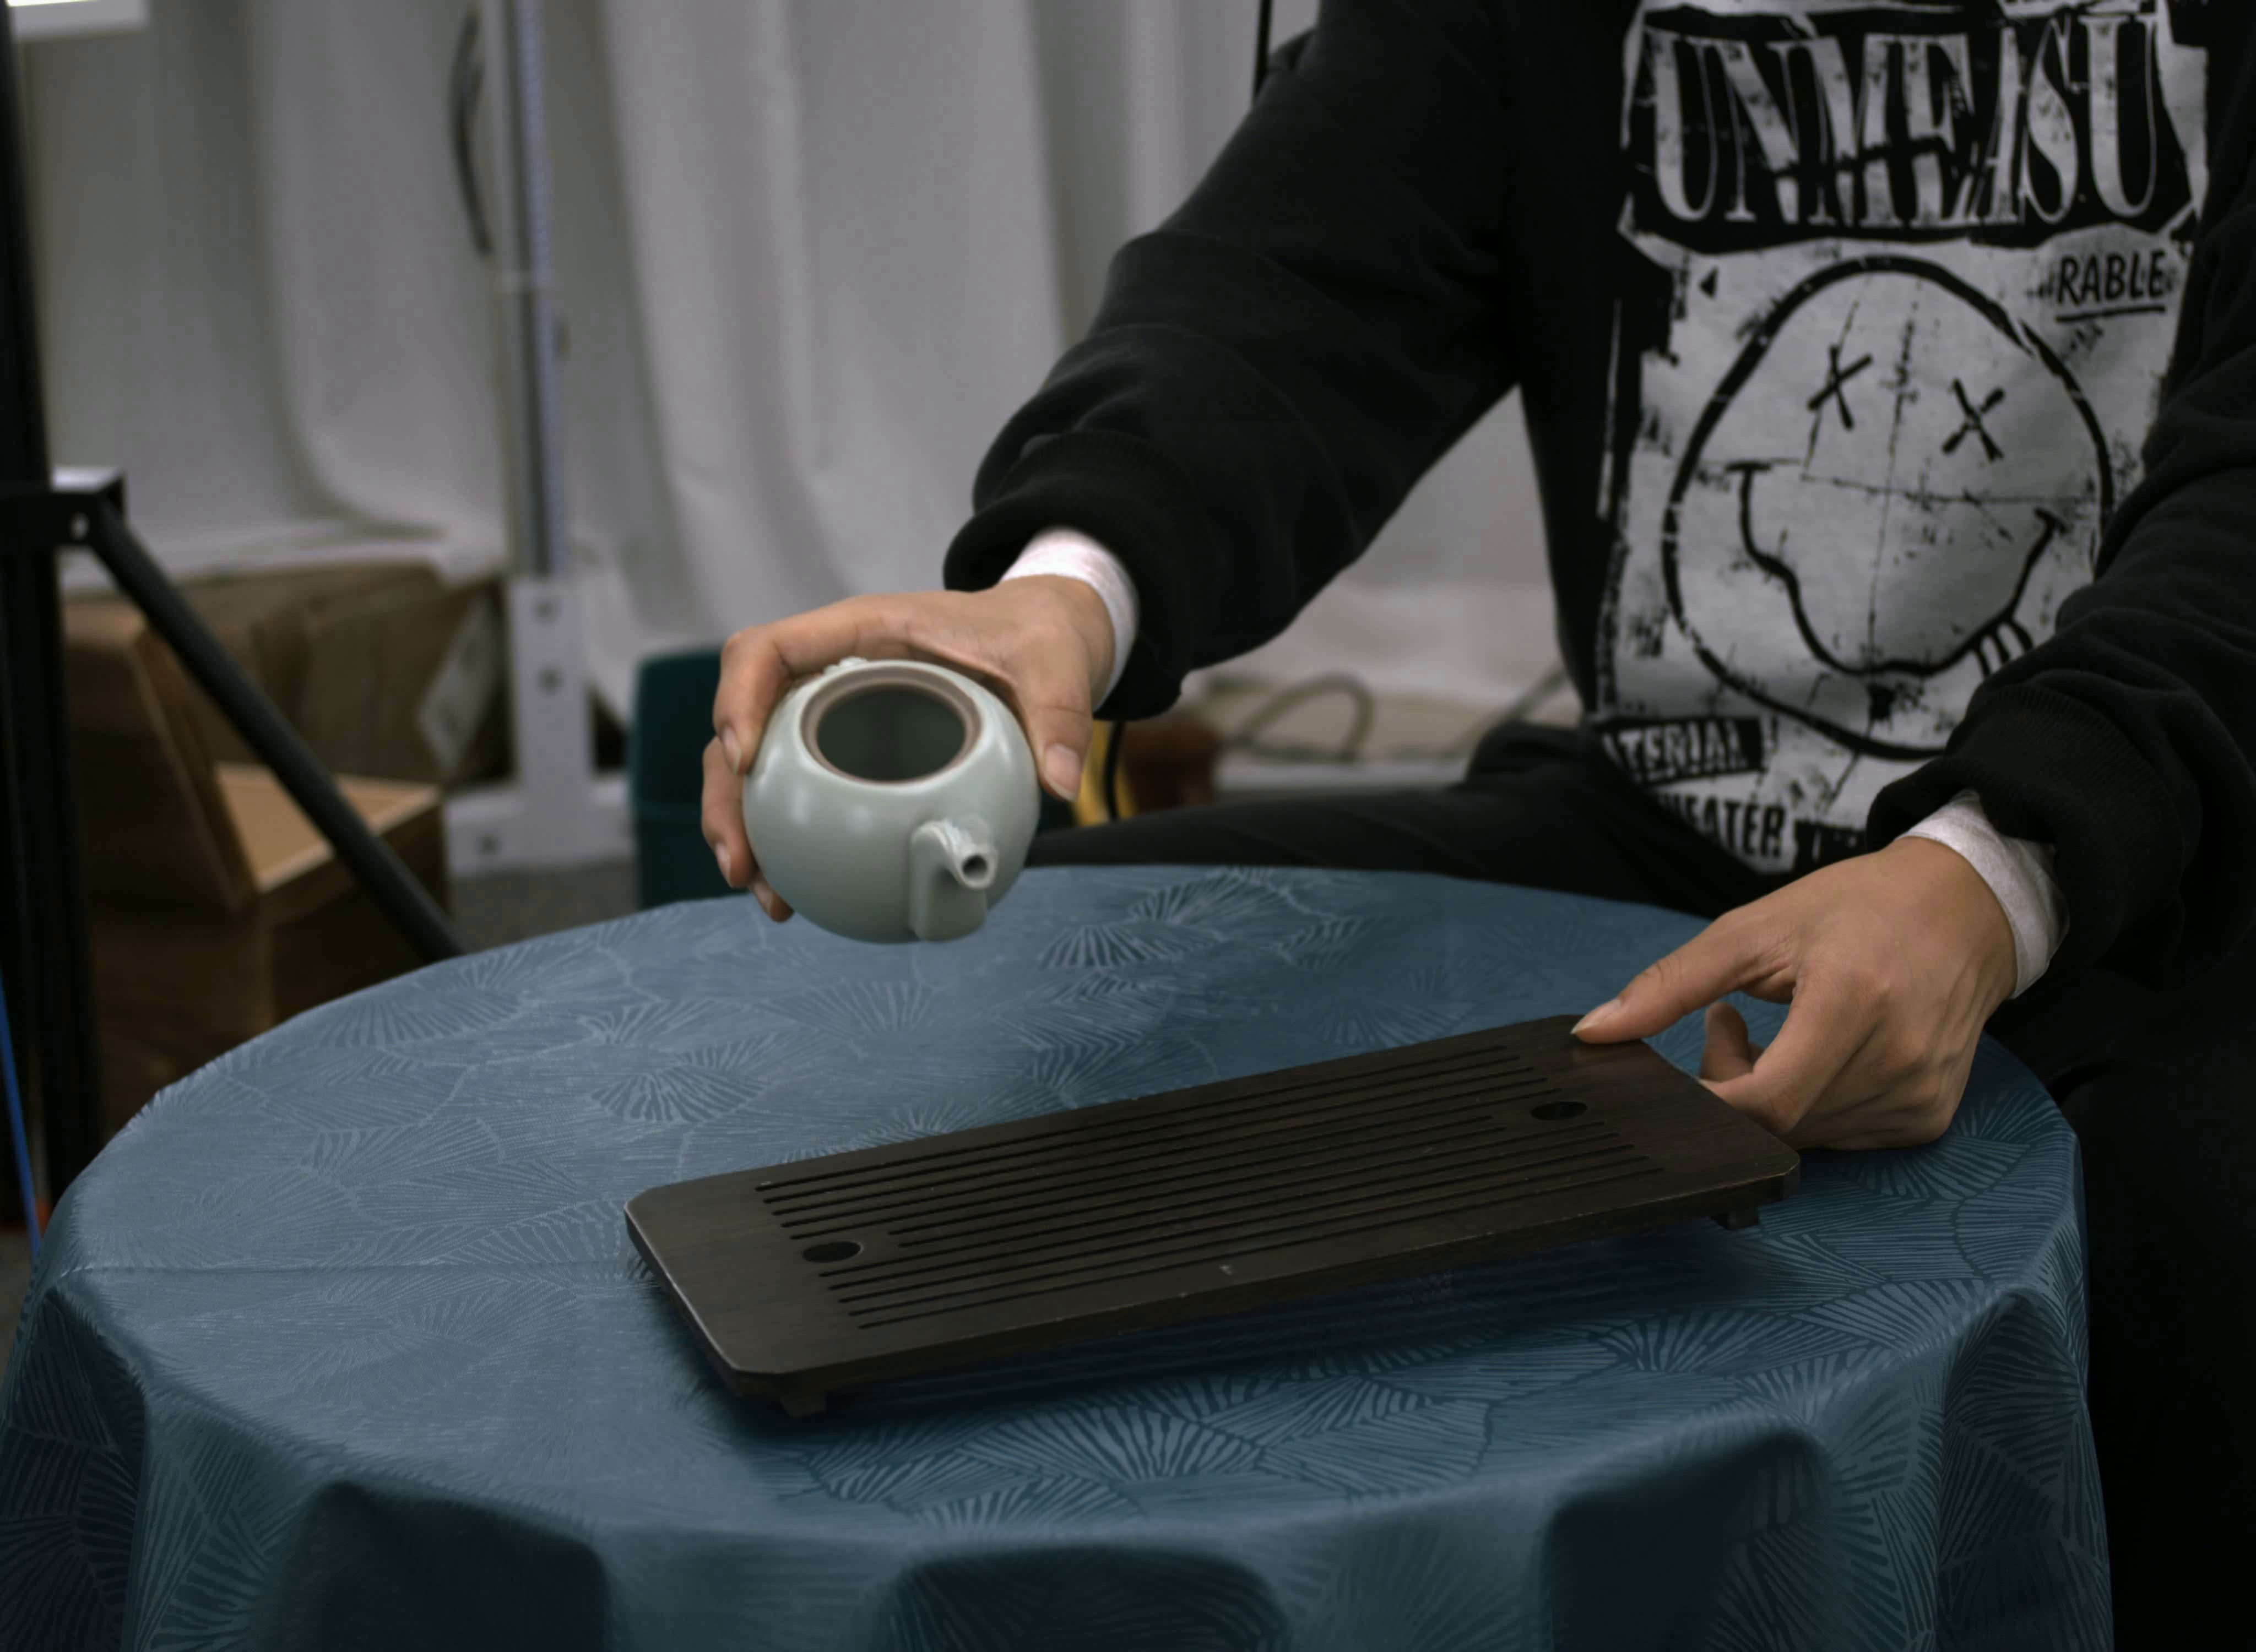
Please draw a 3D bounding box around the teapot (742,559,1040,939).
[{"bbox_3d":[-0.070,-0.010,1.567,0.087,0.074,0.147,-13,45,-15],"label":"teapot"}]

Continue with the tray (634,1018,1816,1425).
[{"bbox_3d":[0.024,0.108,1.481,0.302,0.018,0.172,-10,15,-12],"label":"tray"}]
